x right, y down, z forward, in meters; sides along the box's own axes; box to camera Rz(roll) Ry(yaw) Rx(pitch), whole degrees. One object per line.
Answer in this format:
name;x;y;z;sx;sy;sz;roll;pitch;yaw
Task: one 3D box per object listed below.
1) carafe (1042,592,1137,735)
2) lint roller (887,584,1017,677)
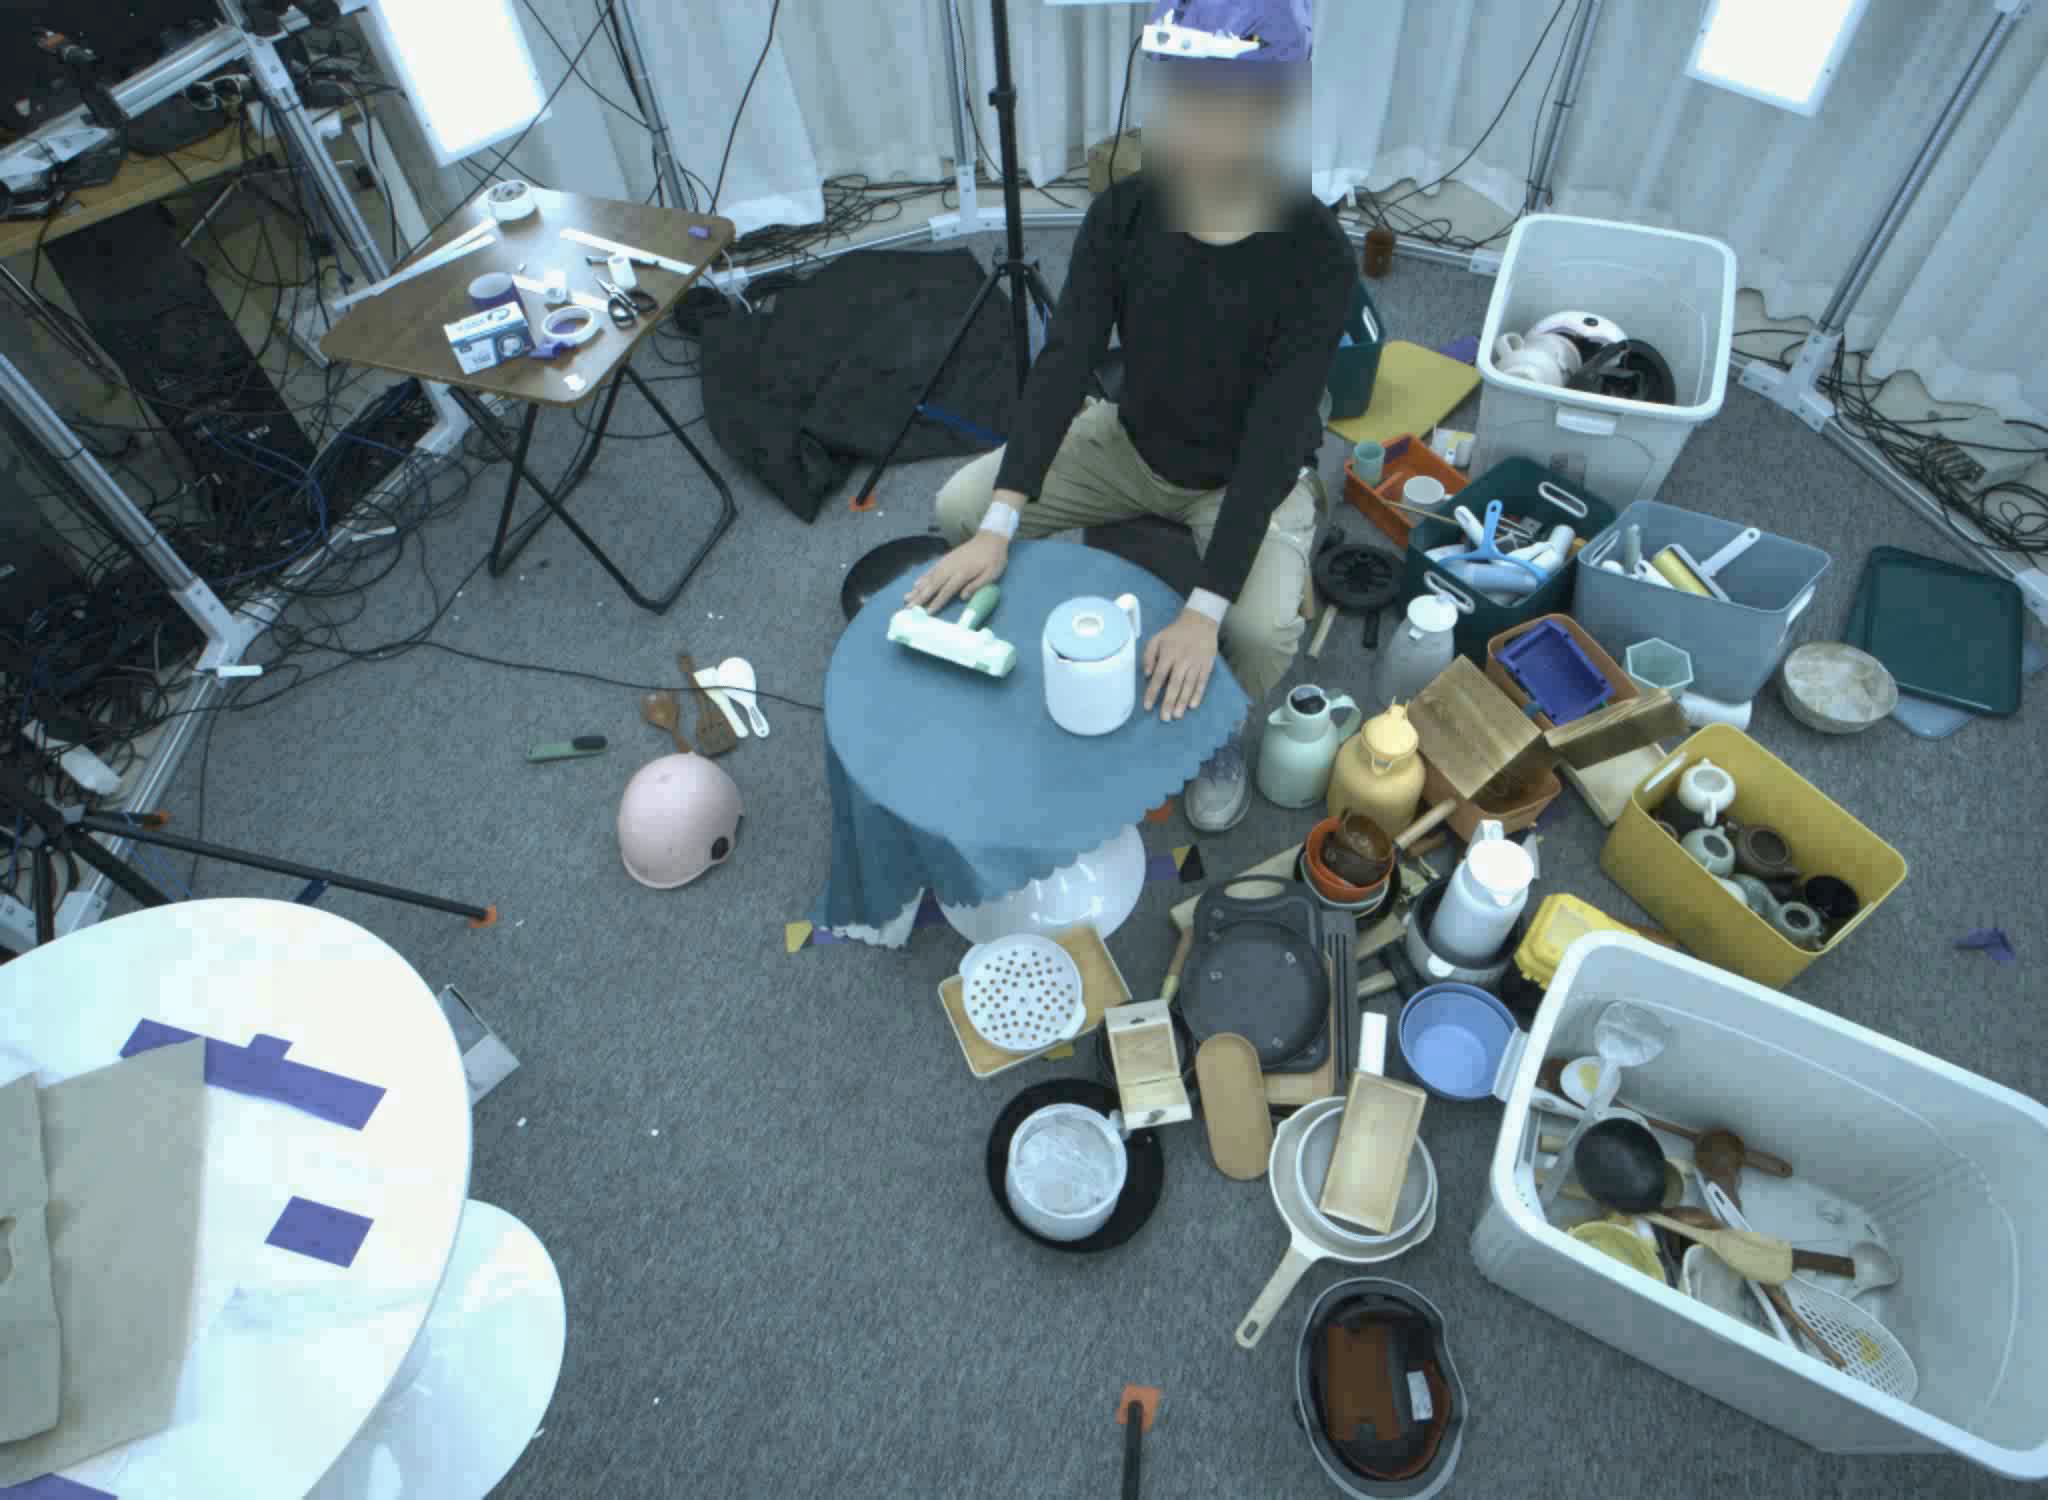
carafe;0.107;-0.137;1.775;0.130;0.184;0.192;29;59;21
lint roller;-0.086;-0.209;1.891;0.196;0.083;0.183;20;61;14
